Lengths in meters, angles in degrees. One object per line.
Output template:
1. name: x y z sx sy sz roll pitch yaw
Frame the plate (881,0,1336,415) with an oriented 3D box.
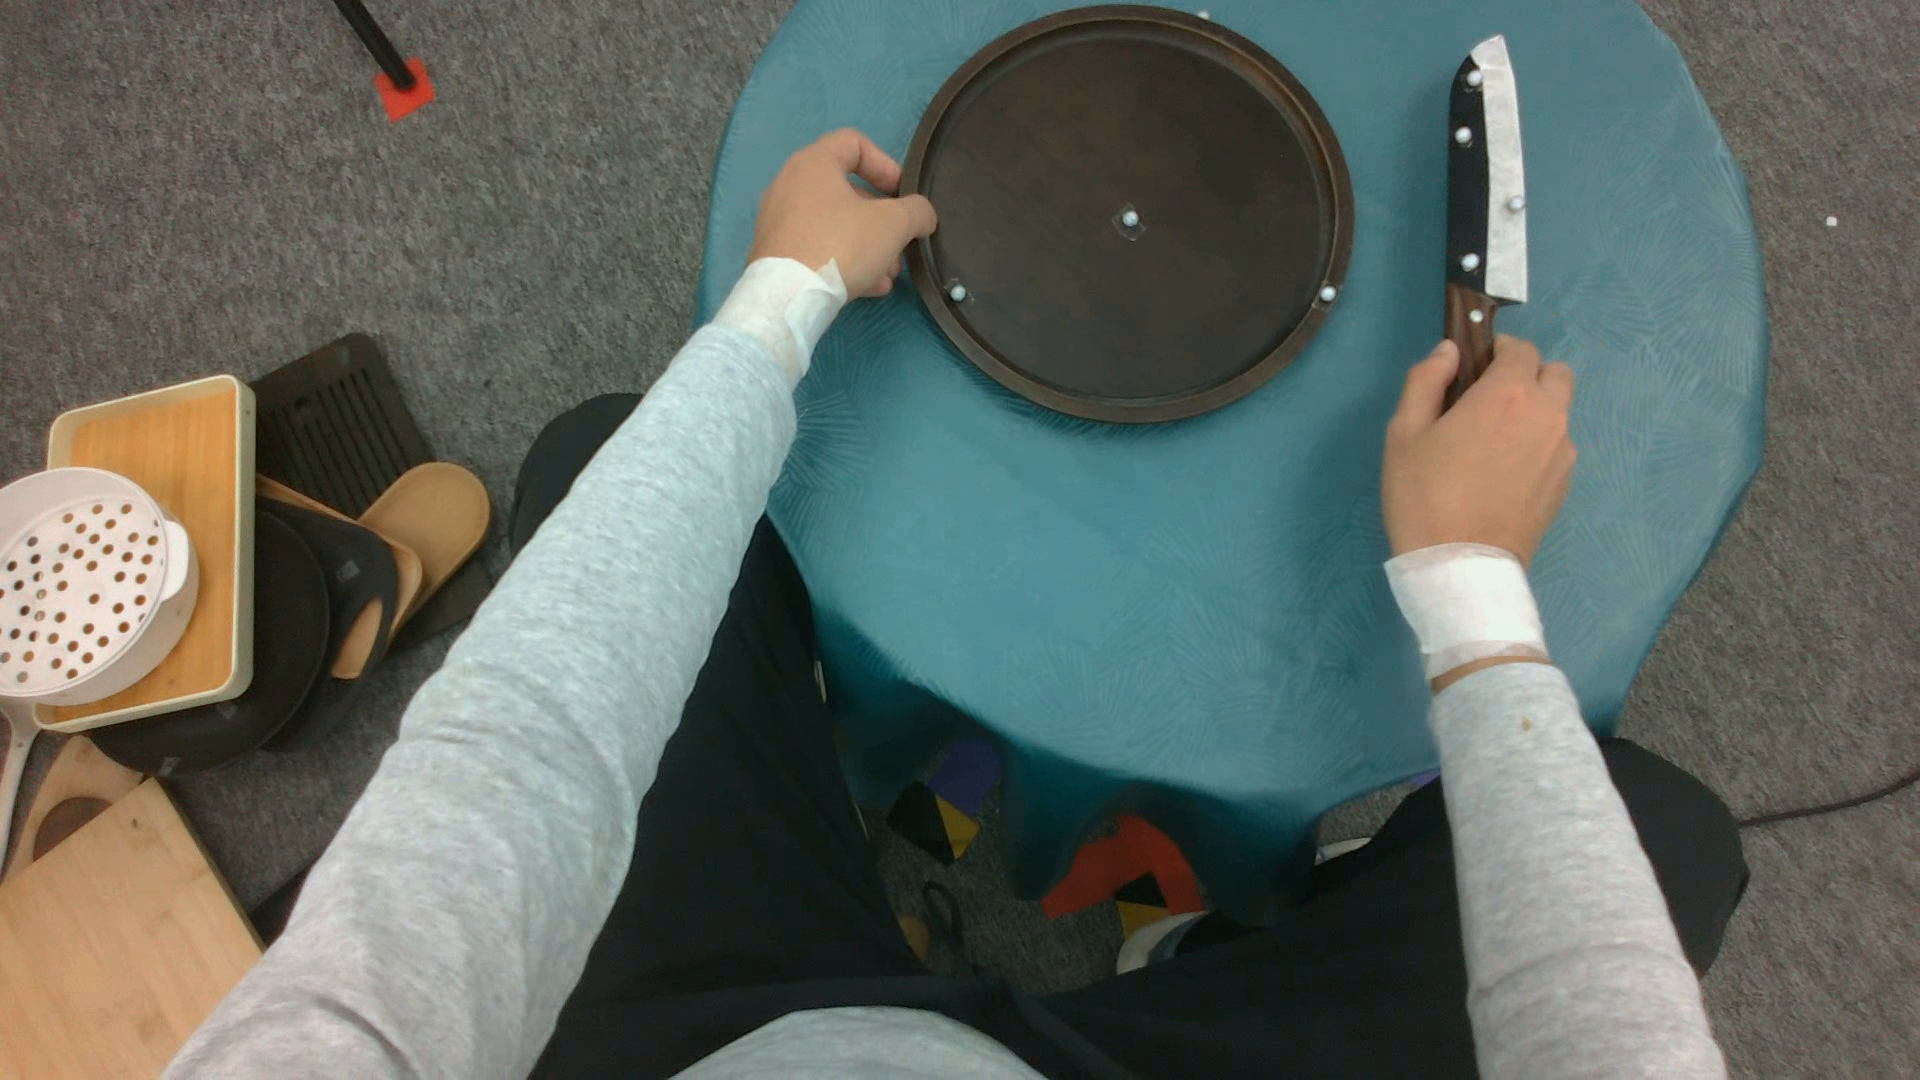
1. plate: 0.083 -0.189 0.771 0.255 0.029 0.255 1 77 -3

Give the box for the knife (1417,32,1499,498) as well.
1. knife: 0.268 -0.156 0.743 0.050 0.020 0.290 11 71 -7
